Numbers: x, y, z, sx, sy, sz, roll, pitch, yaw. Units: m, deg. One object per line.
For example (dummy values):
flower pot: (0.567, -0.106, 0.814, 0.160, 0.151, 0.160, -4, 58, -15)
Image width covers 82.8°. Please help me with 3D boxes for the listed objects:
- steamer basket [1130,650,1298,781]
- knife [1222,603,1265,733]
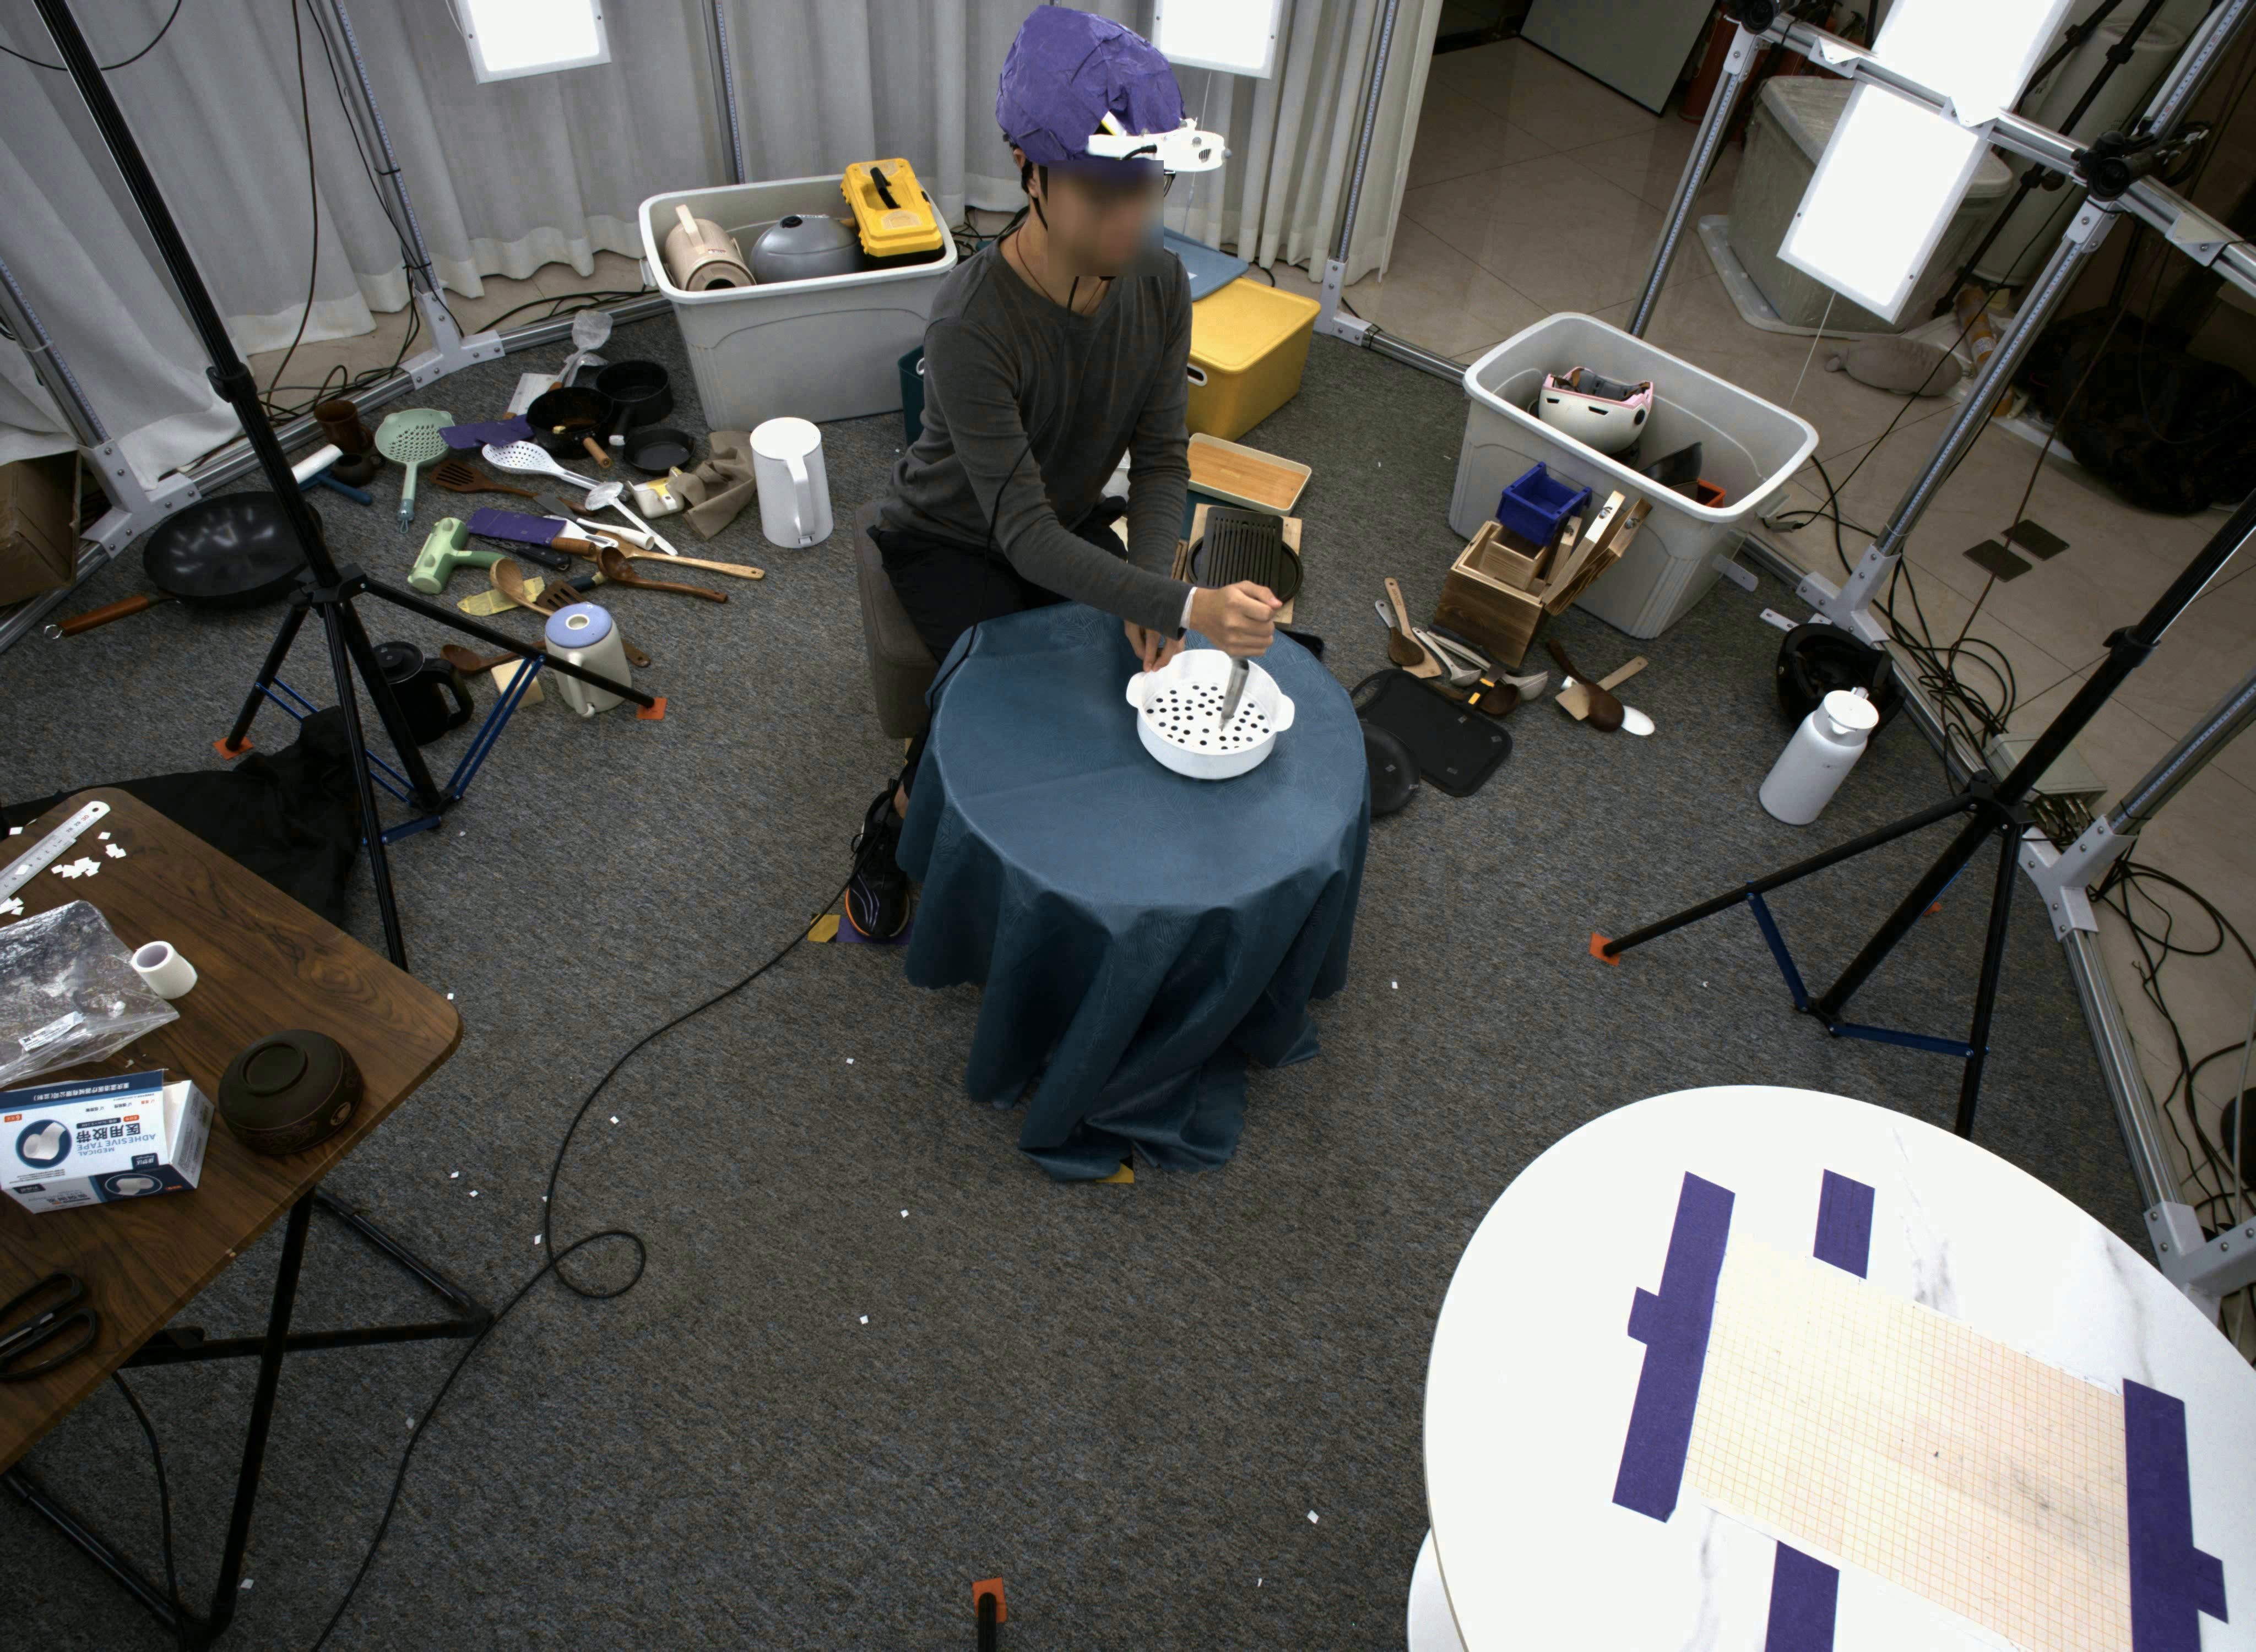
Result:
steamer basket: (0.116, -0.152, 1.763, 0.231, 0.067, 0.206, 10, 49, 6)
knife: (0.146, -0.203, 1.684, 0.024, 0.233, 0.016, 22, 51, 8)
